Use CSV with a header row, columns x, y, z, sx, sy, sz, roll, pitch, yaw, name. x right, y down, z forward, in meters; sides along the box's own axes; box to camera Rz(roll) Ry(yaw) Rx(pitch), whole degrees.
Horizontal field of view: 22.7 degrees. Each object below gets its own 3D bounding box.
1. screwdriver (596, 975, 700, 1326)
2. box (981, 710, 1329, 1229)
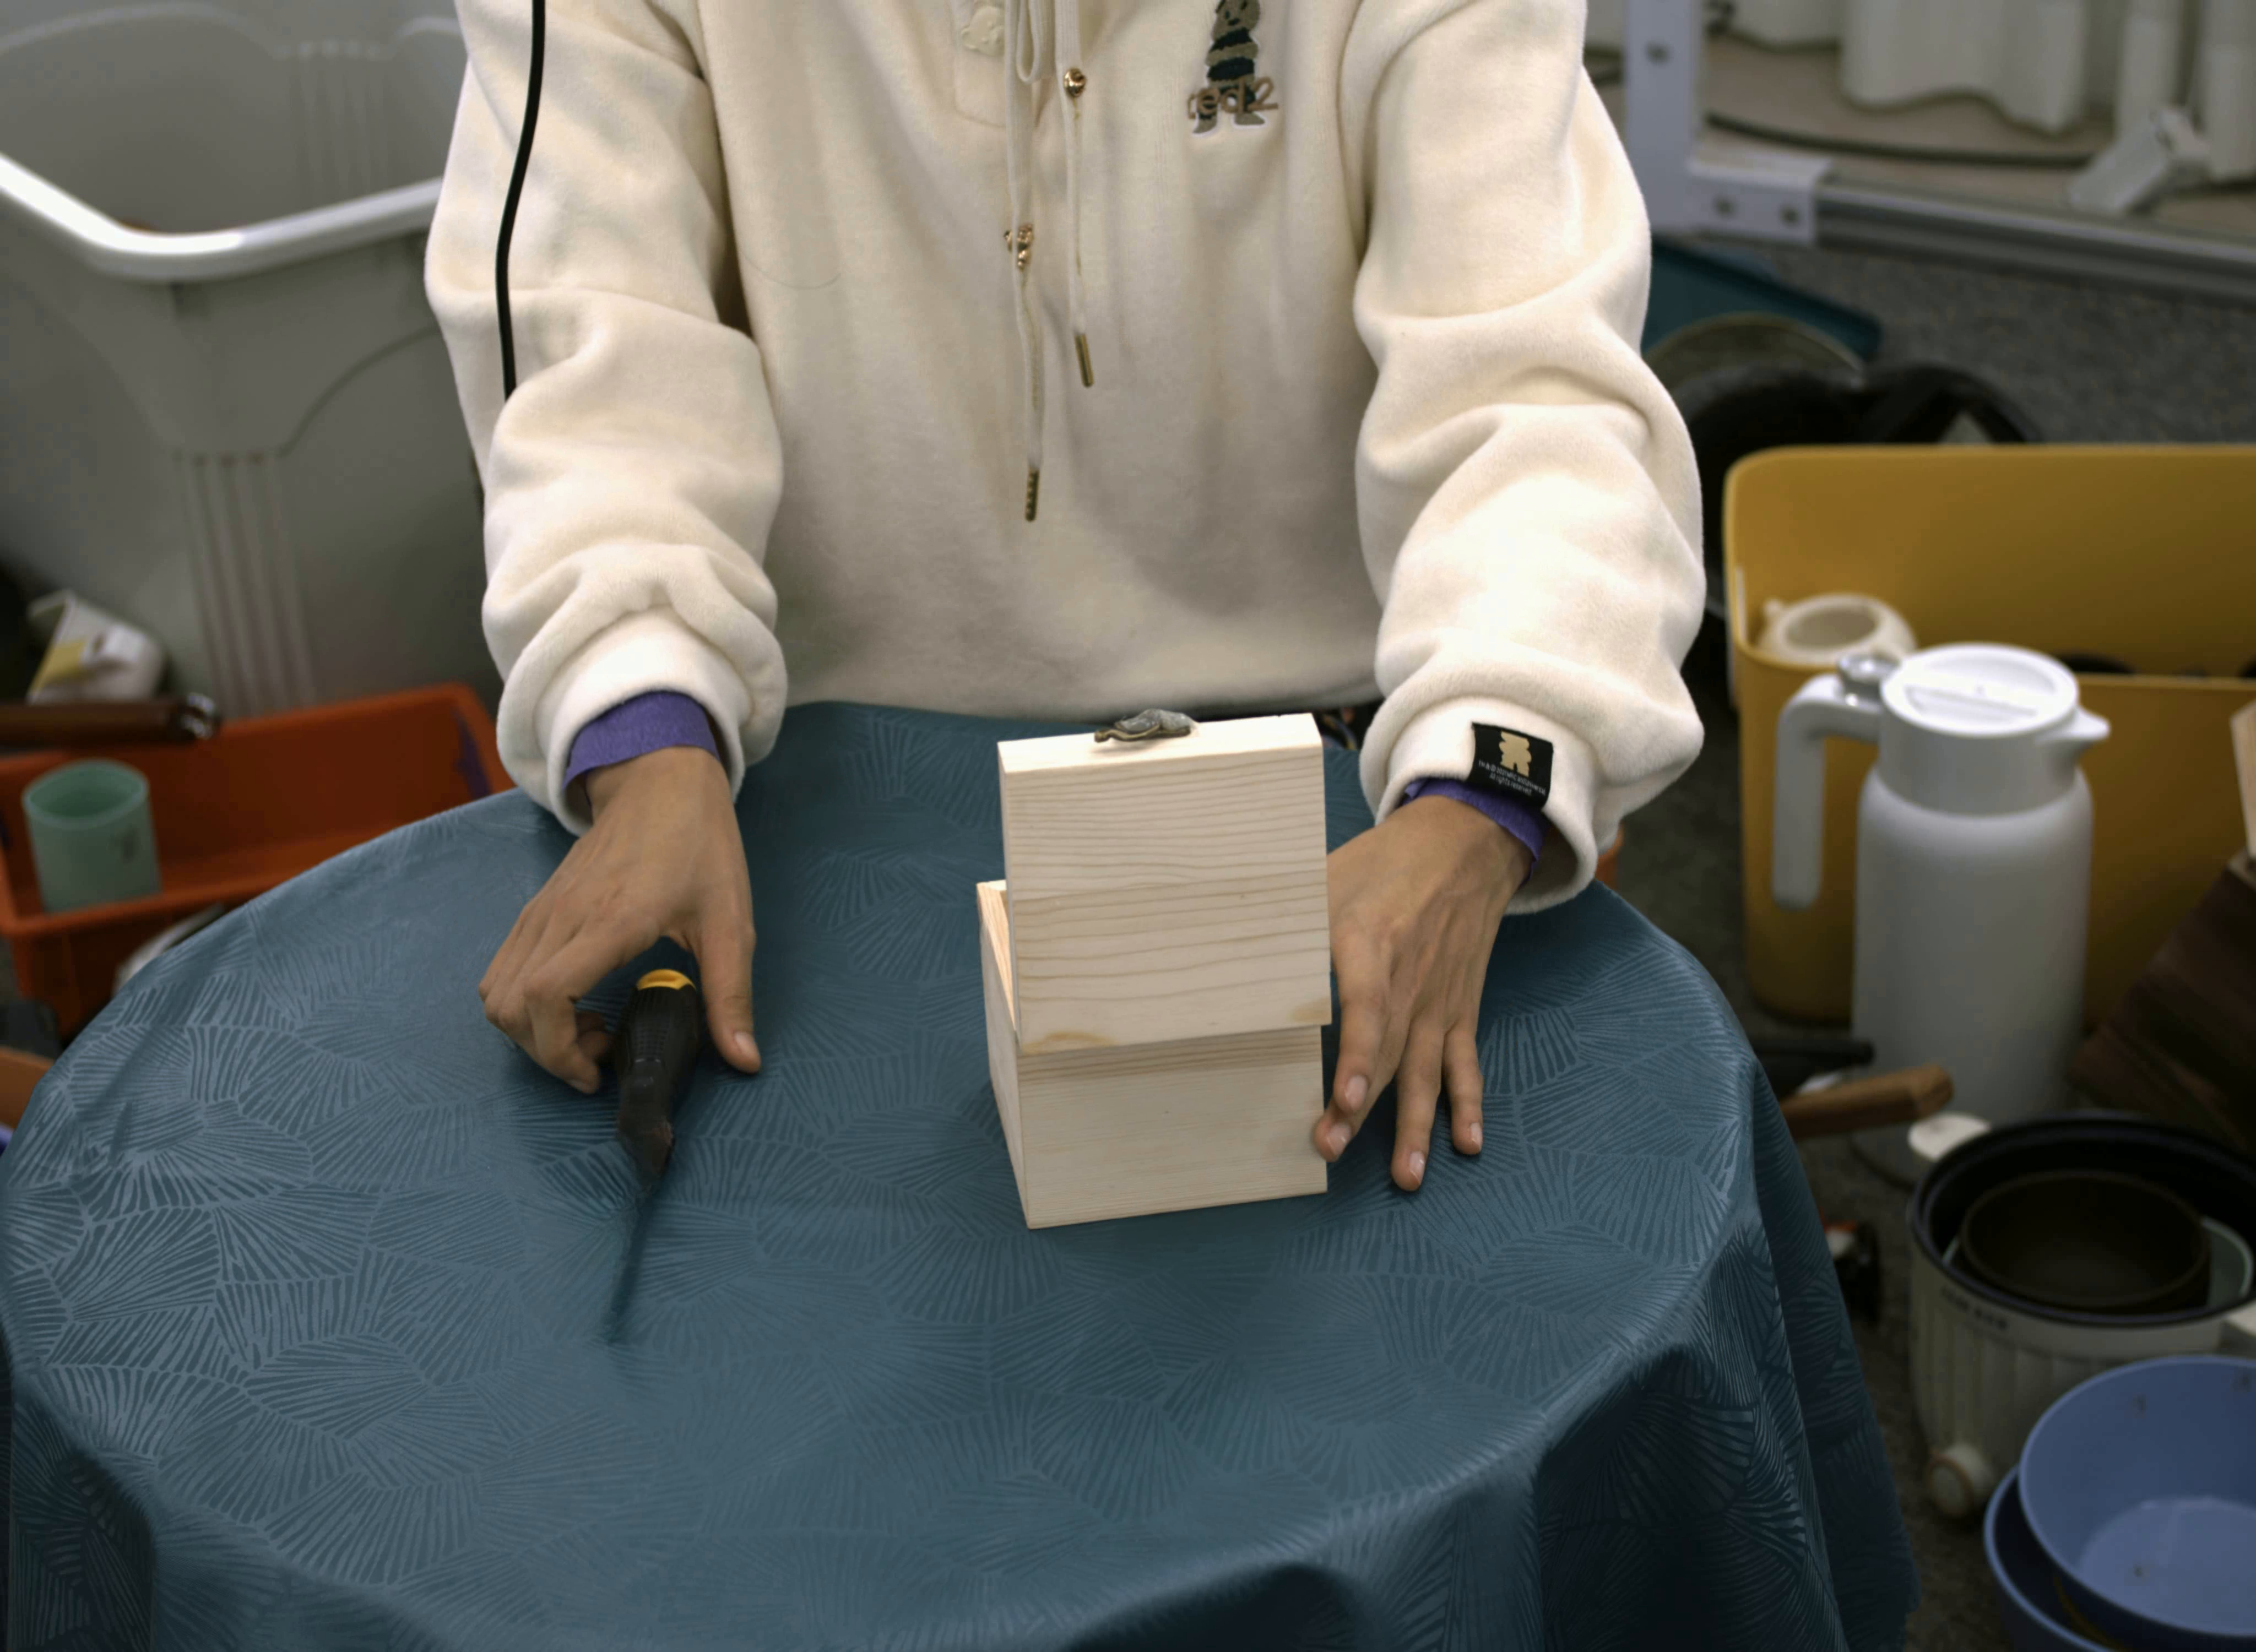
x,y,z,sx,sy,sz,roll,pitch,yaw,name
-0.167,0.109,1.878,0.031,0.031,0.201,0,29,5,screwdriver
0.006,0.028,1.844,0.102,0.182,0.135,-7,28,-5,box
